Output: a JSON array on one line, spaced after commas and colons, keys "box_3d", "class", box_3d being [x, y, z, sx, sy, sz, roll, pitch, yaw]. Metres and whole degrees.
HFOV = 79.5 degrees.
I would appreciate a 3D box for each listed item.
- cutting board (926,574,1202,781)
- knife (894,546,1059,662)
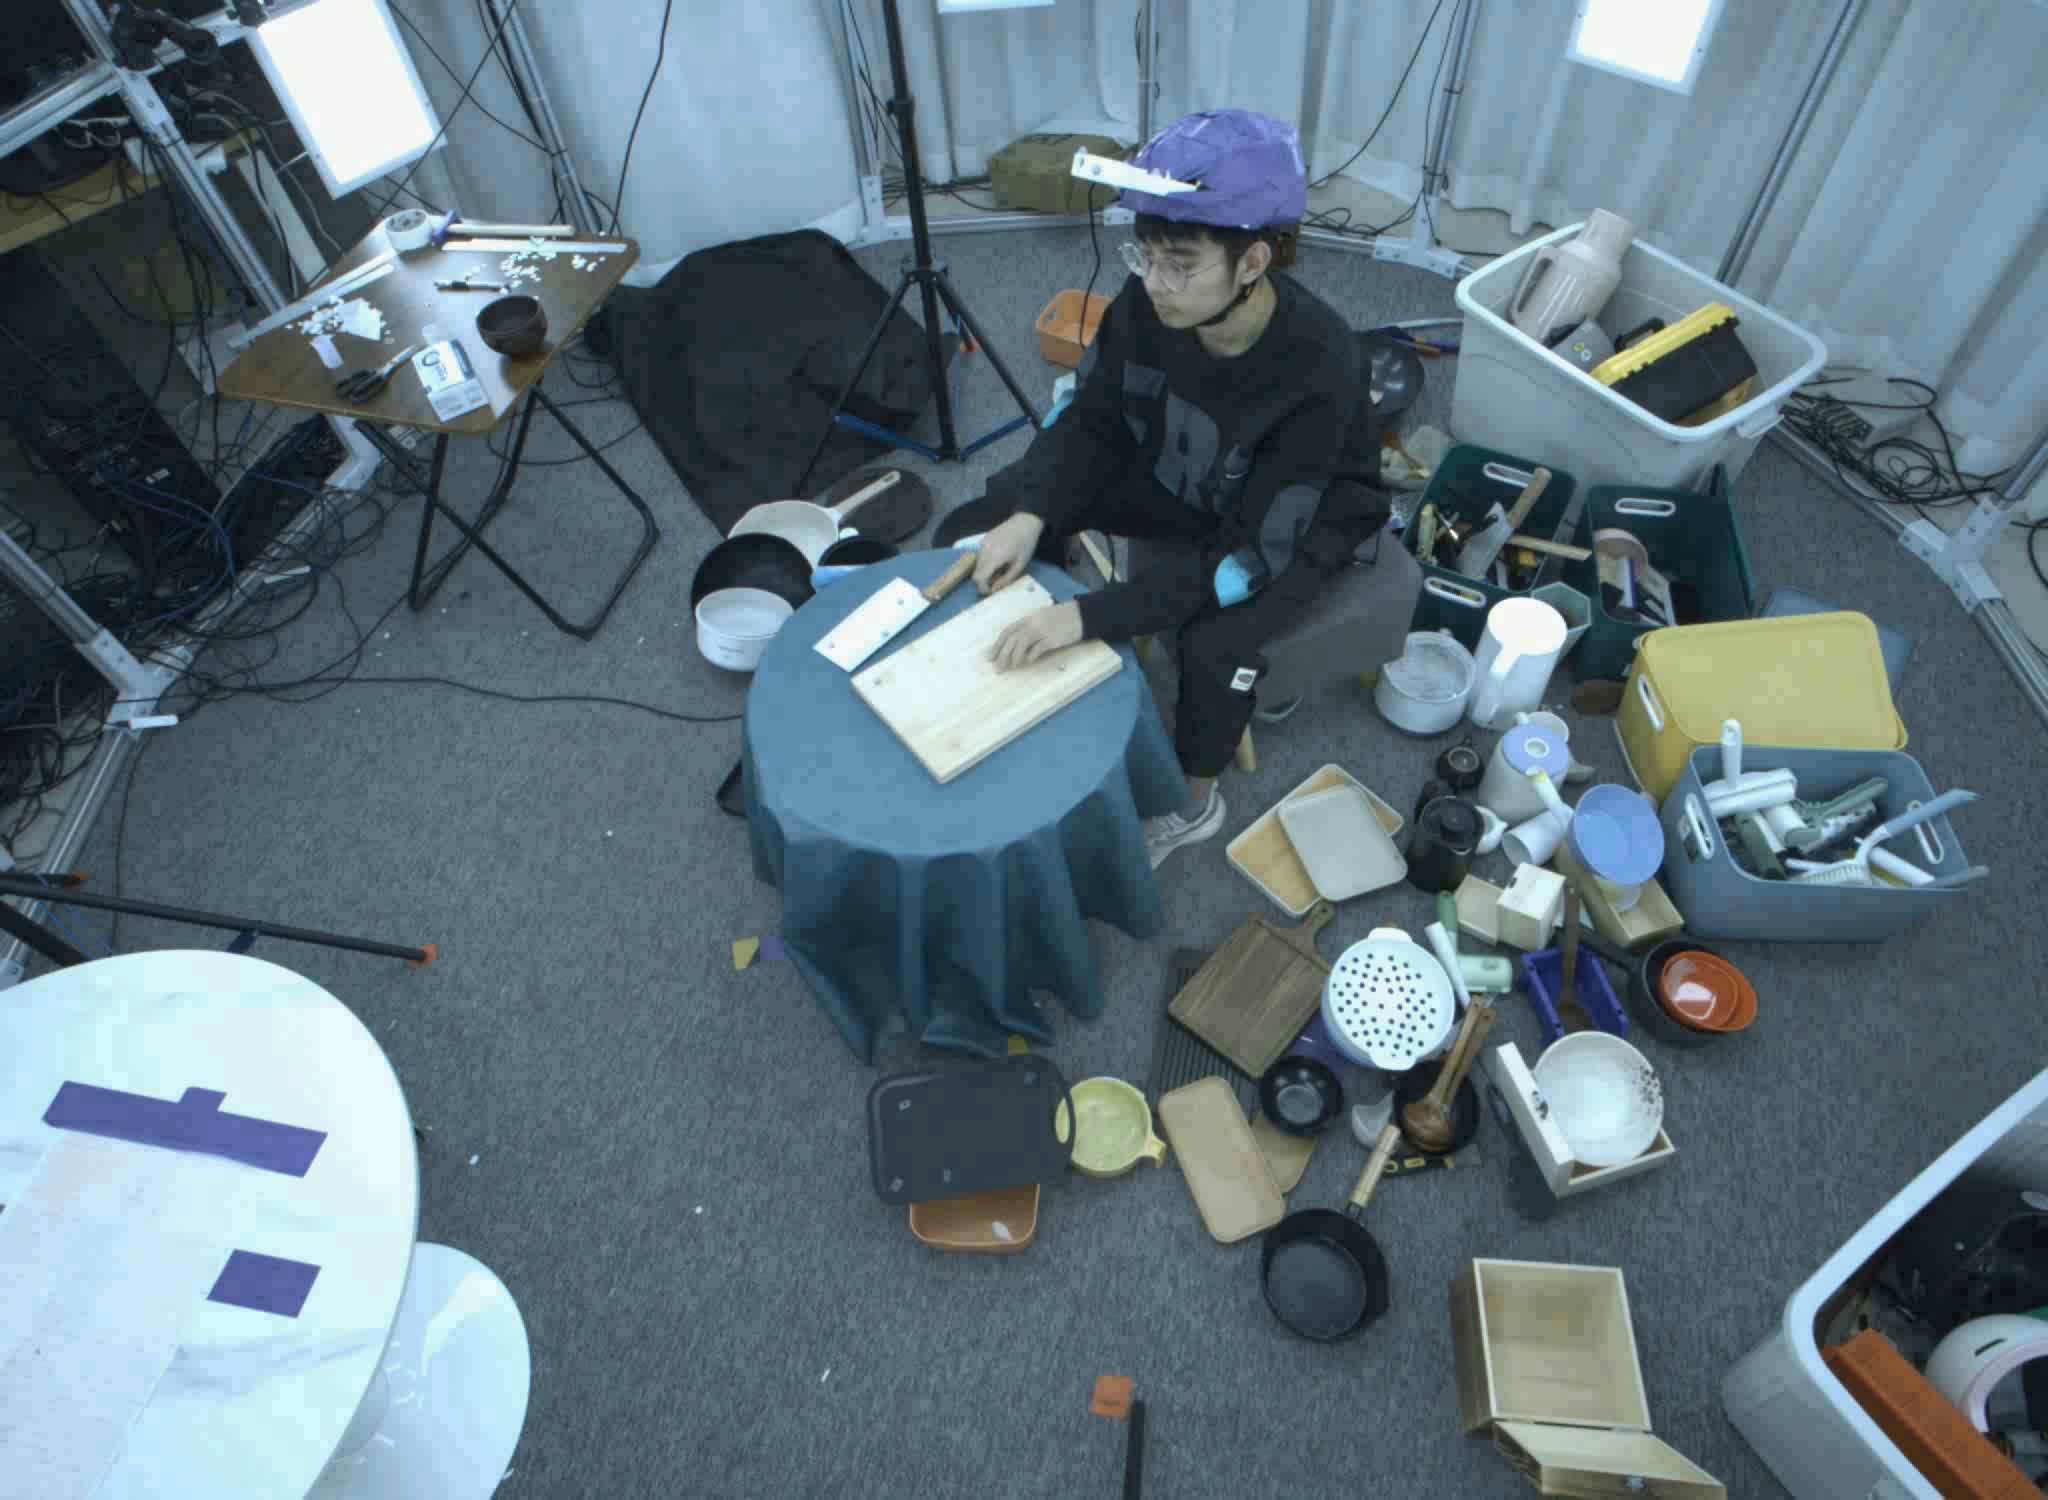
[{"box_3d": [0.056, -0.118, 1.858, 0.351, 0.024, 0.246, -30, 59, -18], "class": "cutting board"}, {"box_3d": [-0.079, -0.245, 1.955, 0.308, 0.021, 0.091, -40, 58, -21], "class": "knife"}]
